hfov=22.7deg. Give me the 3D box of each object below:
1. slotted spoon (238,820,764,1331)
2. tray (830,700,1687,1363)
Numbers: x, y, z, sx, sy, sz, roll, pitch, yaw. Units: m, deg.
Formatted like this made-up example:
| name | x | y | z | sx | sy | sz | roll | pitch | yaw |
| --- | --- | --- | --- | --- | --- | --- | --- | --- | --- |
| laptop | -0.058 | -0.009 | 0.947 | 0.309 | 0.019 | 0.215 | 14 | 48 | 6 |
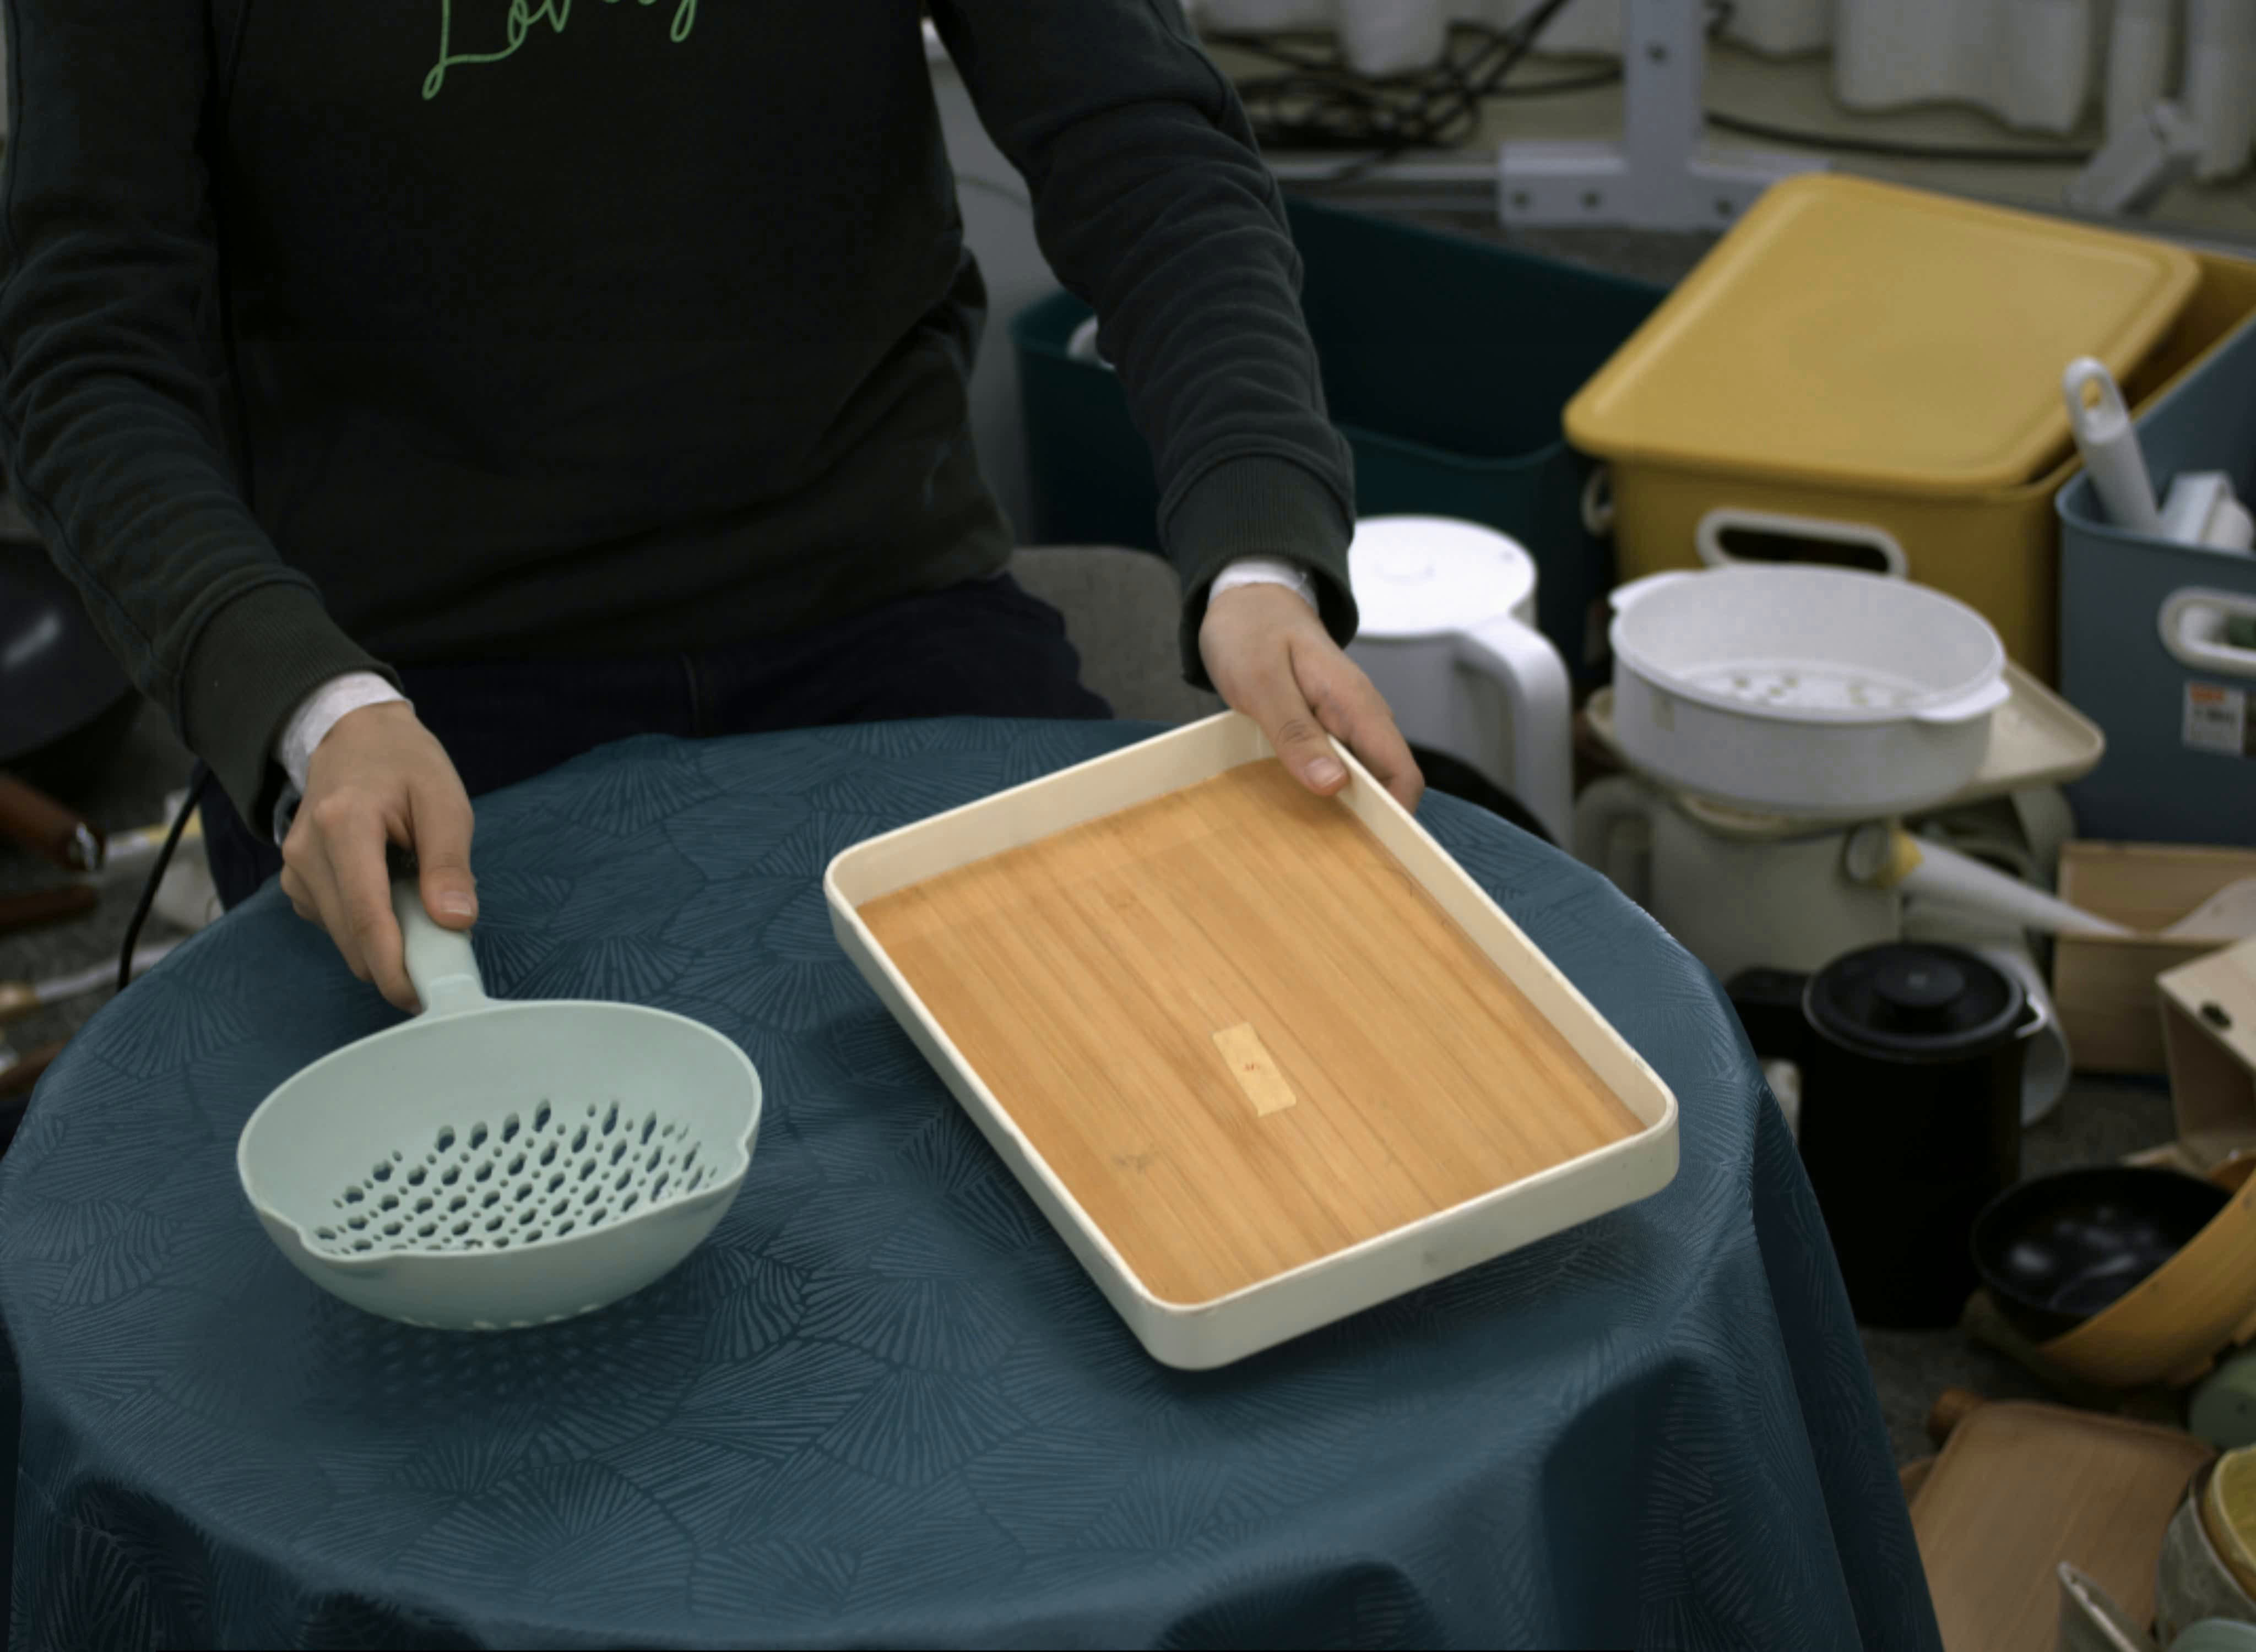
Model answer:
| name | x | y | z | sx | sy | sz | roll | pitch | yaw |
| --- | --- | --- | --- | --- | --- | --- | --- | --- | --- |
| slotted spoon | -0.223 | 0.067 | 1.883 | 0.169 | 0.074 | 0.363 | -10 | 33 | -11 |
| tray | 0.038 | 0.062 | 1.875 | 0.192 | 0.027 | 0.303 | -19 | 35 | -17 |
